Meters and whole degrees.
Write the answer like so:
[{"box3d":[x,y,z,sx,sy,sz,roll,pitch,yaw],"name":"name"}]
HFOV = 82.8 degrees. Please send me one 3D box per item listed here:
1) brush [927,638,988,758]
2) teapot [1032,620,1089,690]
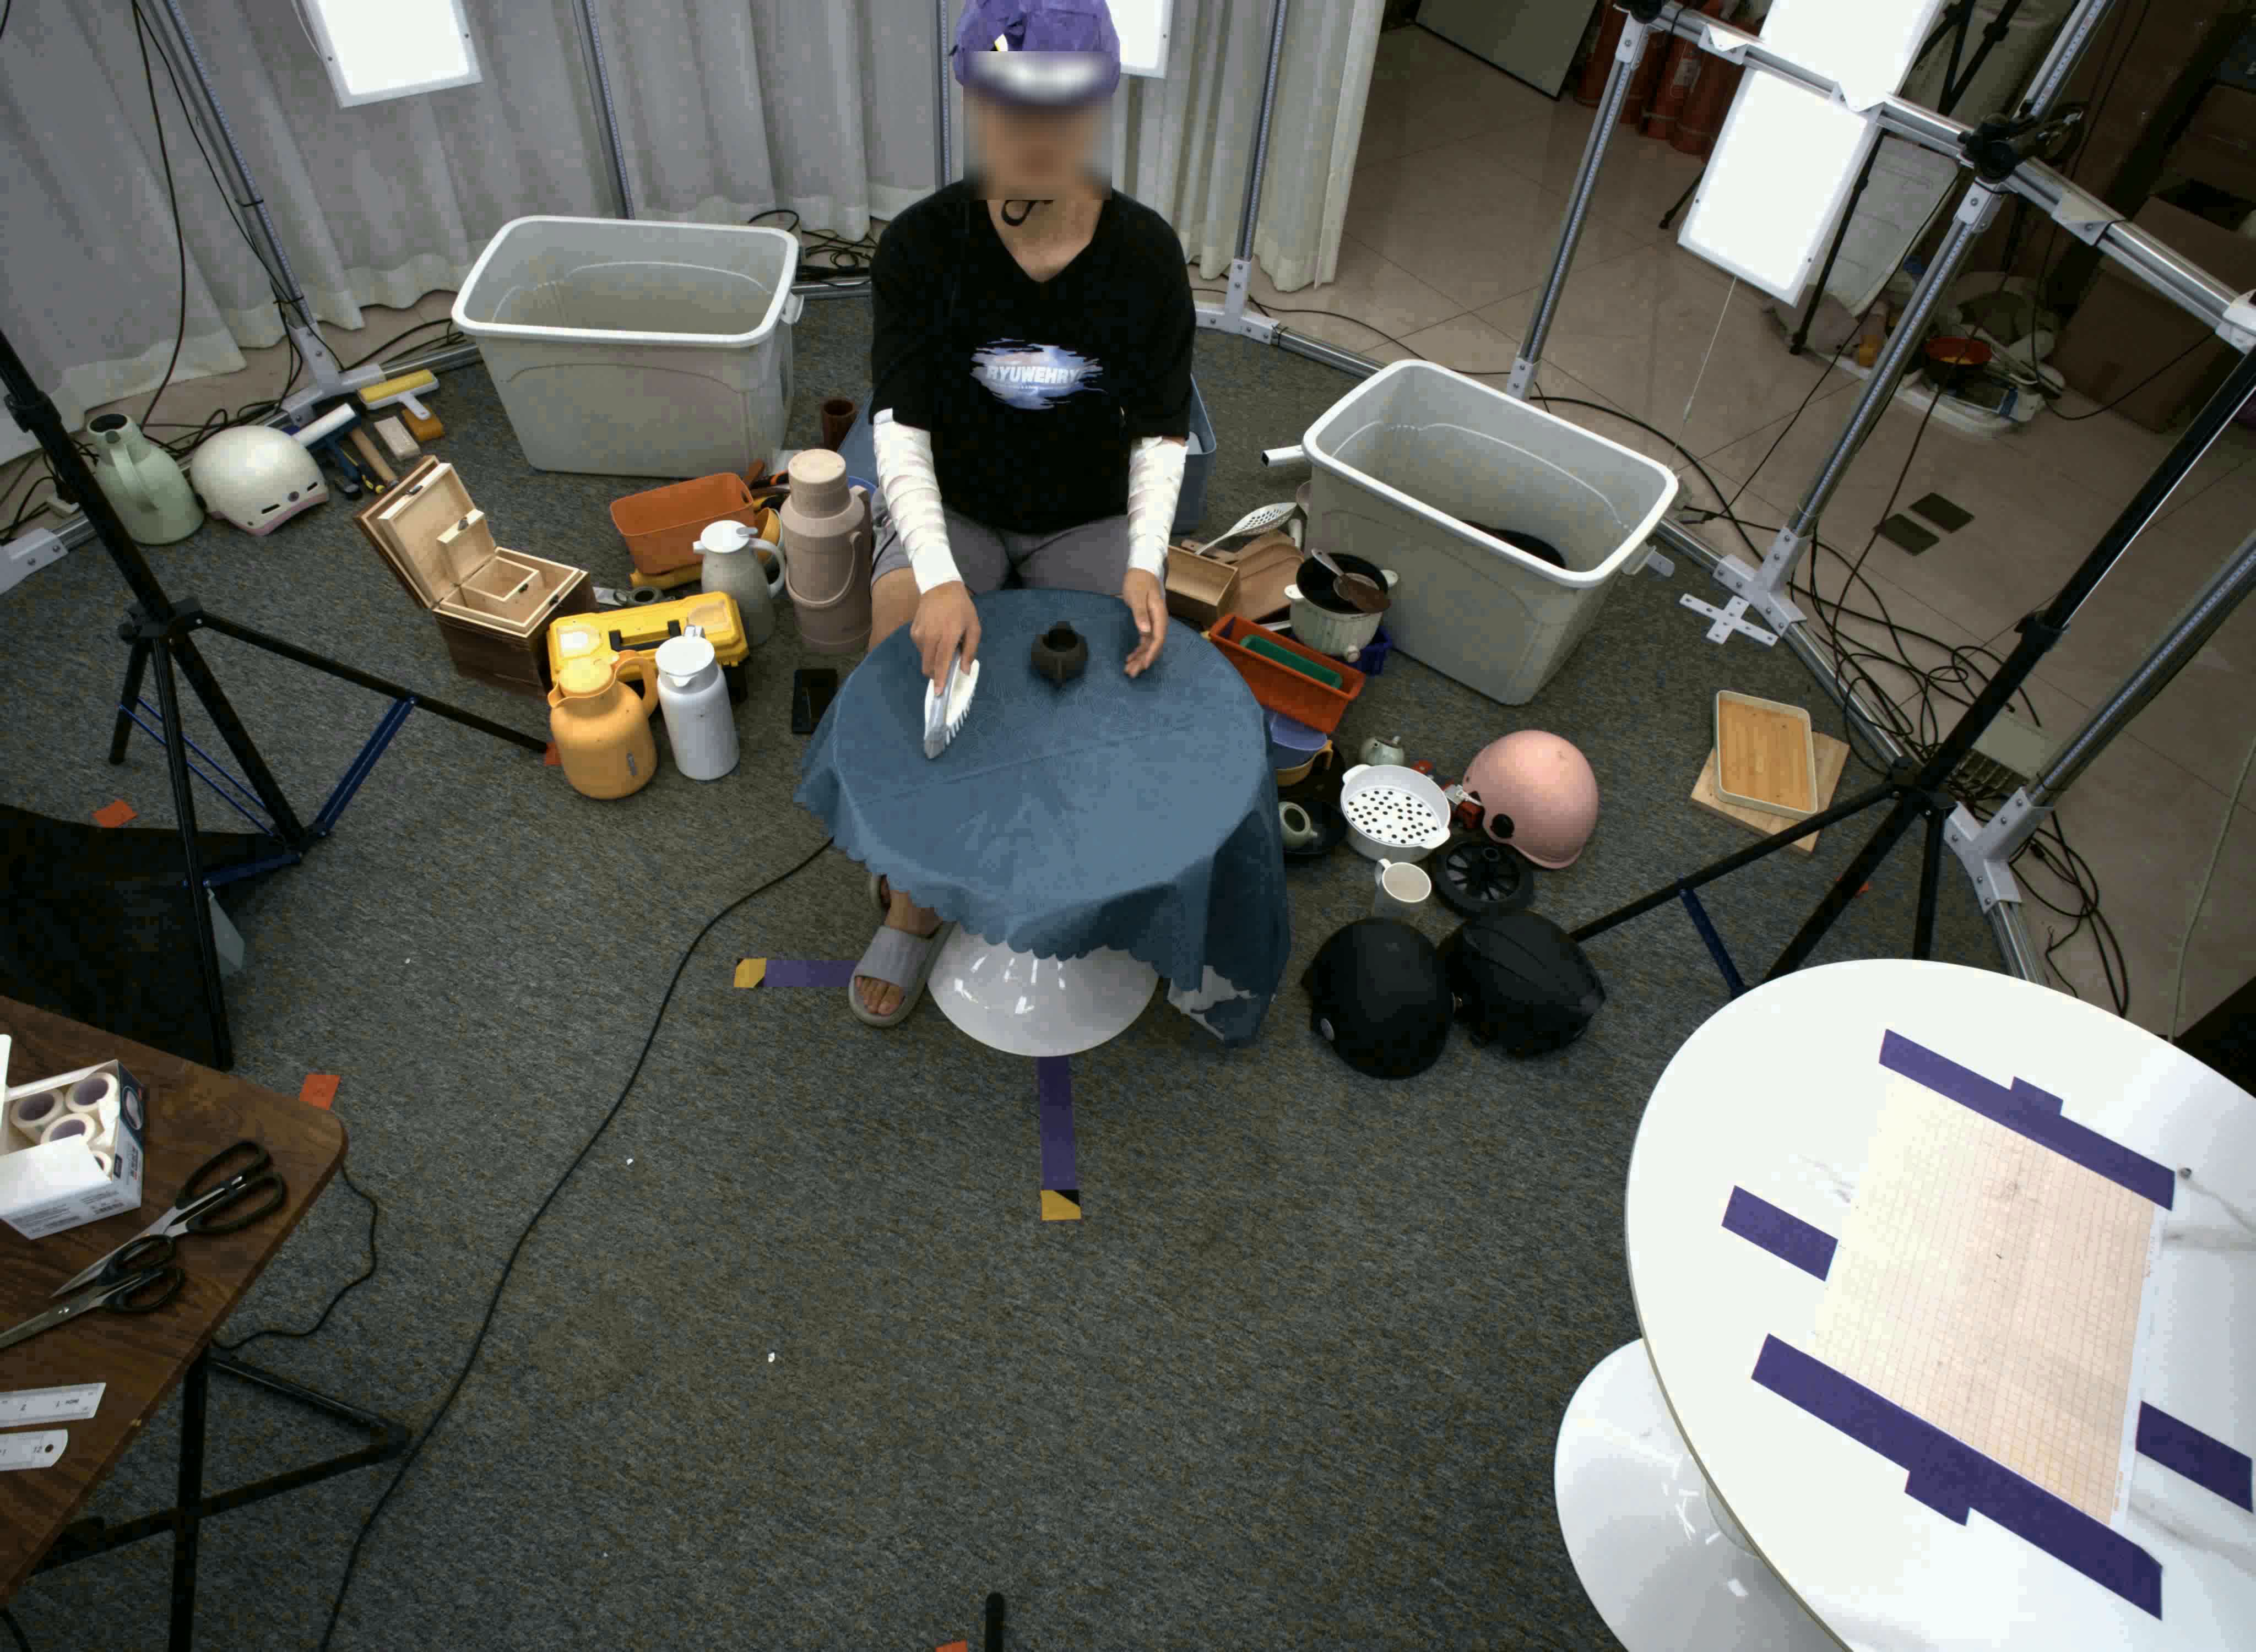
[{"box3d":[-0.242,-0.184,1.758,0.061,0.092,0.179,9,51,8],"name":"brush"},{"box3d":[-0.097,-0.242,1.843,0.083,0.052,0.117,2,48,-2],"name":"teapot"}]
